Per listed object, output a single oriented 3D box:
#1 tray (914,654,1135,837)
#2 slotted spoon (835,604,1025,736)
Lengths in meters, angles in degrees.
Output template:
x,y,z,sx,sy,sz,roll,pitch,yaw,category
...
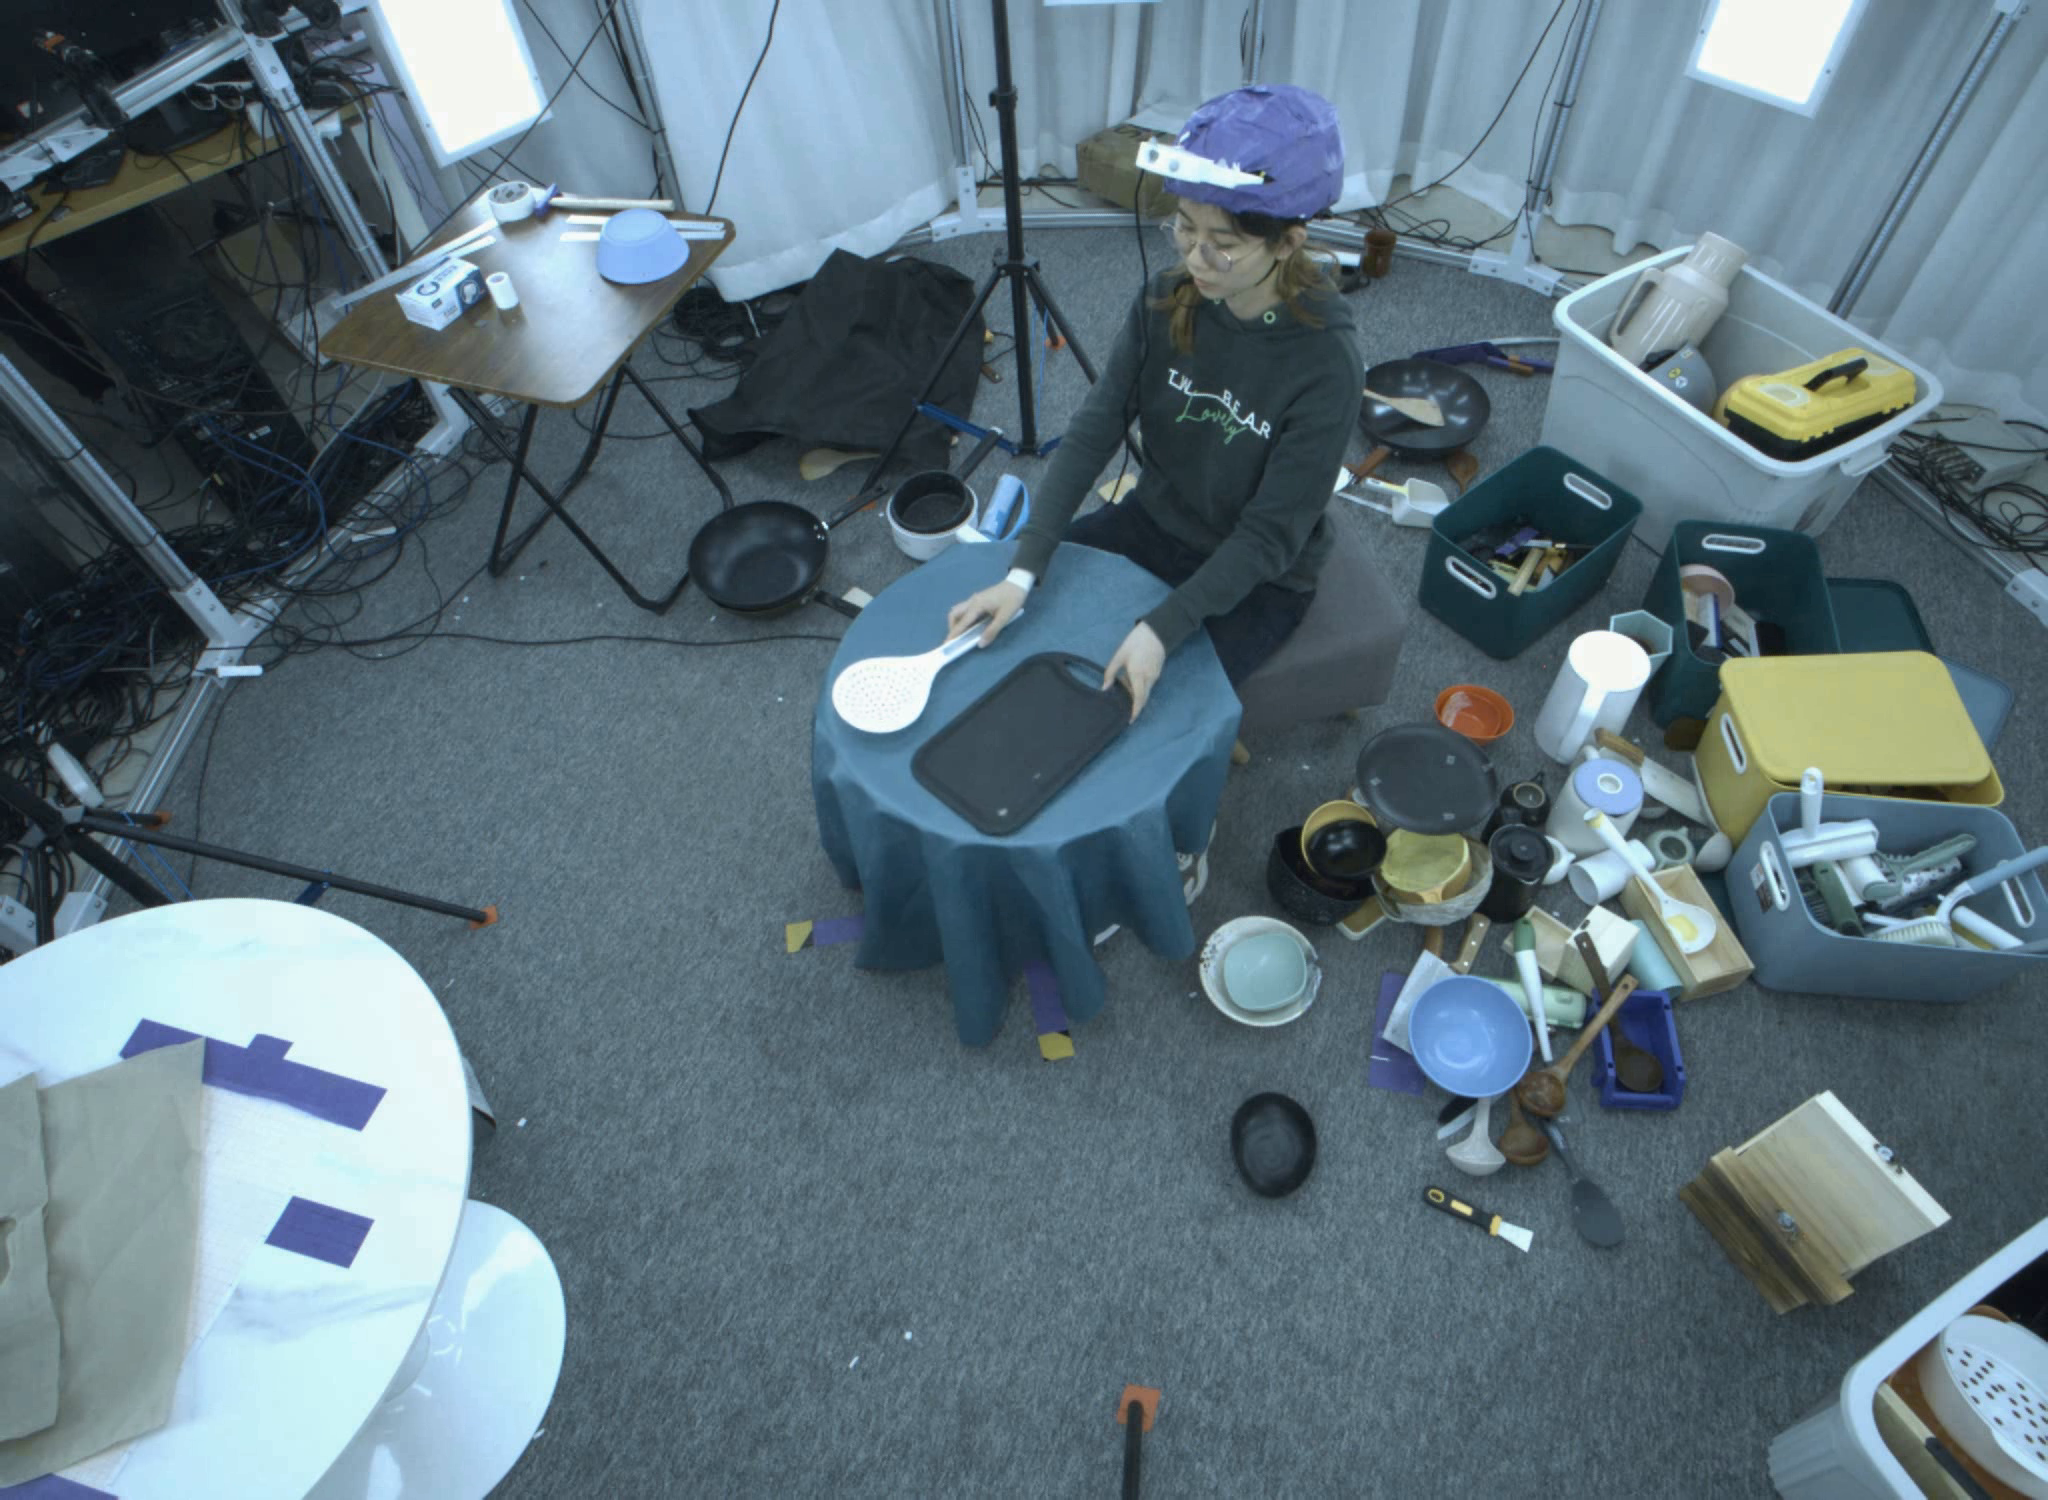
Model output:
x,y,z,sx,sy,sz,roll,pitch,yaw,category
0.006,-0.020,1.799,0.207,0.010,0.327,36,65,26,tray
-0.133,-0.131,1.865,0.352,0.046,0.134,-38,71,-23,slotted spoon
